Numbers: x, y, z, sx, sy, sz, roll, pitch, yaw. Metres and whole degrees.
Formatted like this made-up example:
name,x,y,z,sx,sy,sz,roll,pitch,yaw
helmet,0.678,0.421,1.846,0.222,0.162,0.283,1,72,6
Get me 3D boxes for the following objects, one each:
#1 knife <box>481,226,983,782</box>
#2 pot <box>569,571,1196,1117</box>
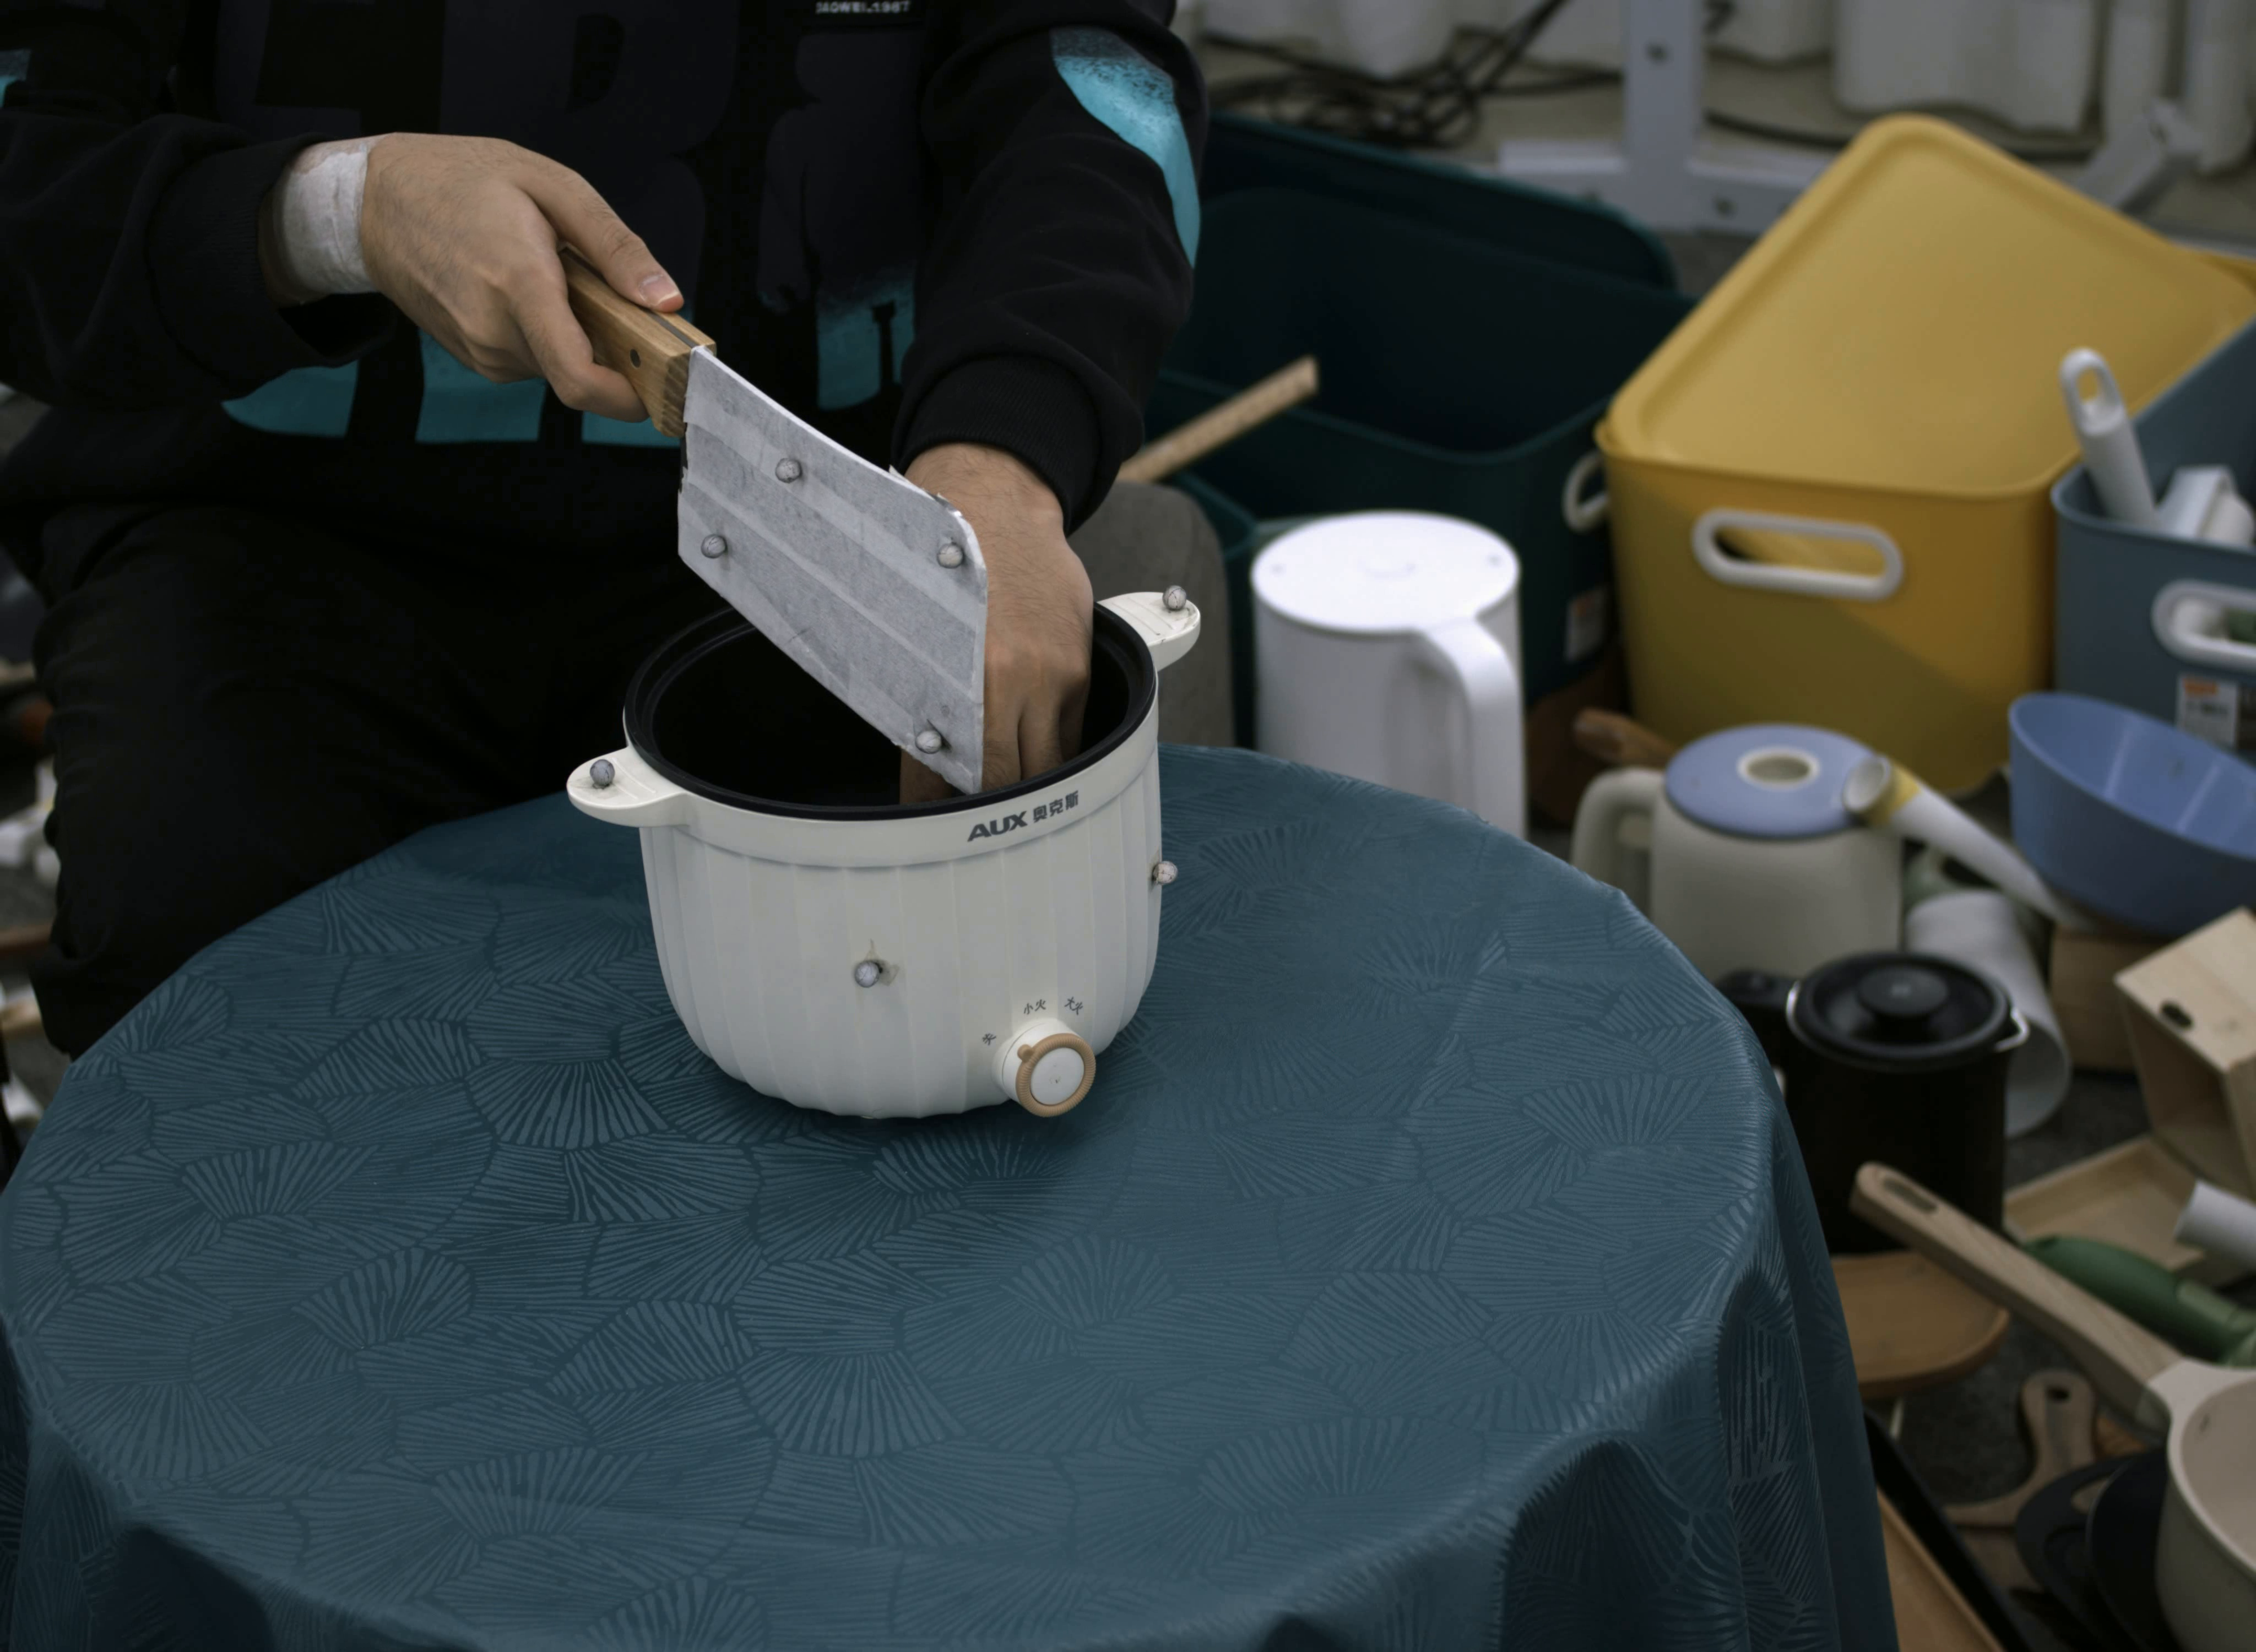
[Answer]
name,x,y,z,sx,sy,sz,roll,pitch,yaw
knife,-0.134,-0.125,1.927,0.022,0.112,0.317,-16,40,-33
pot,-0.073,0.012,1.931,0.242,0.141,0.191,-19,28,-26
